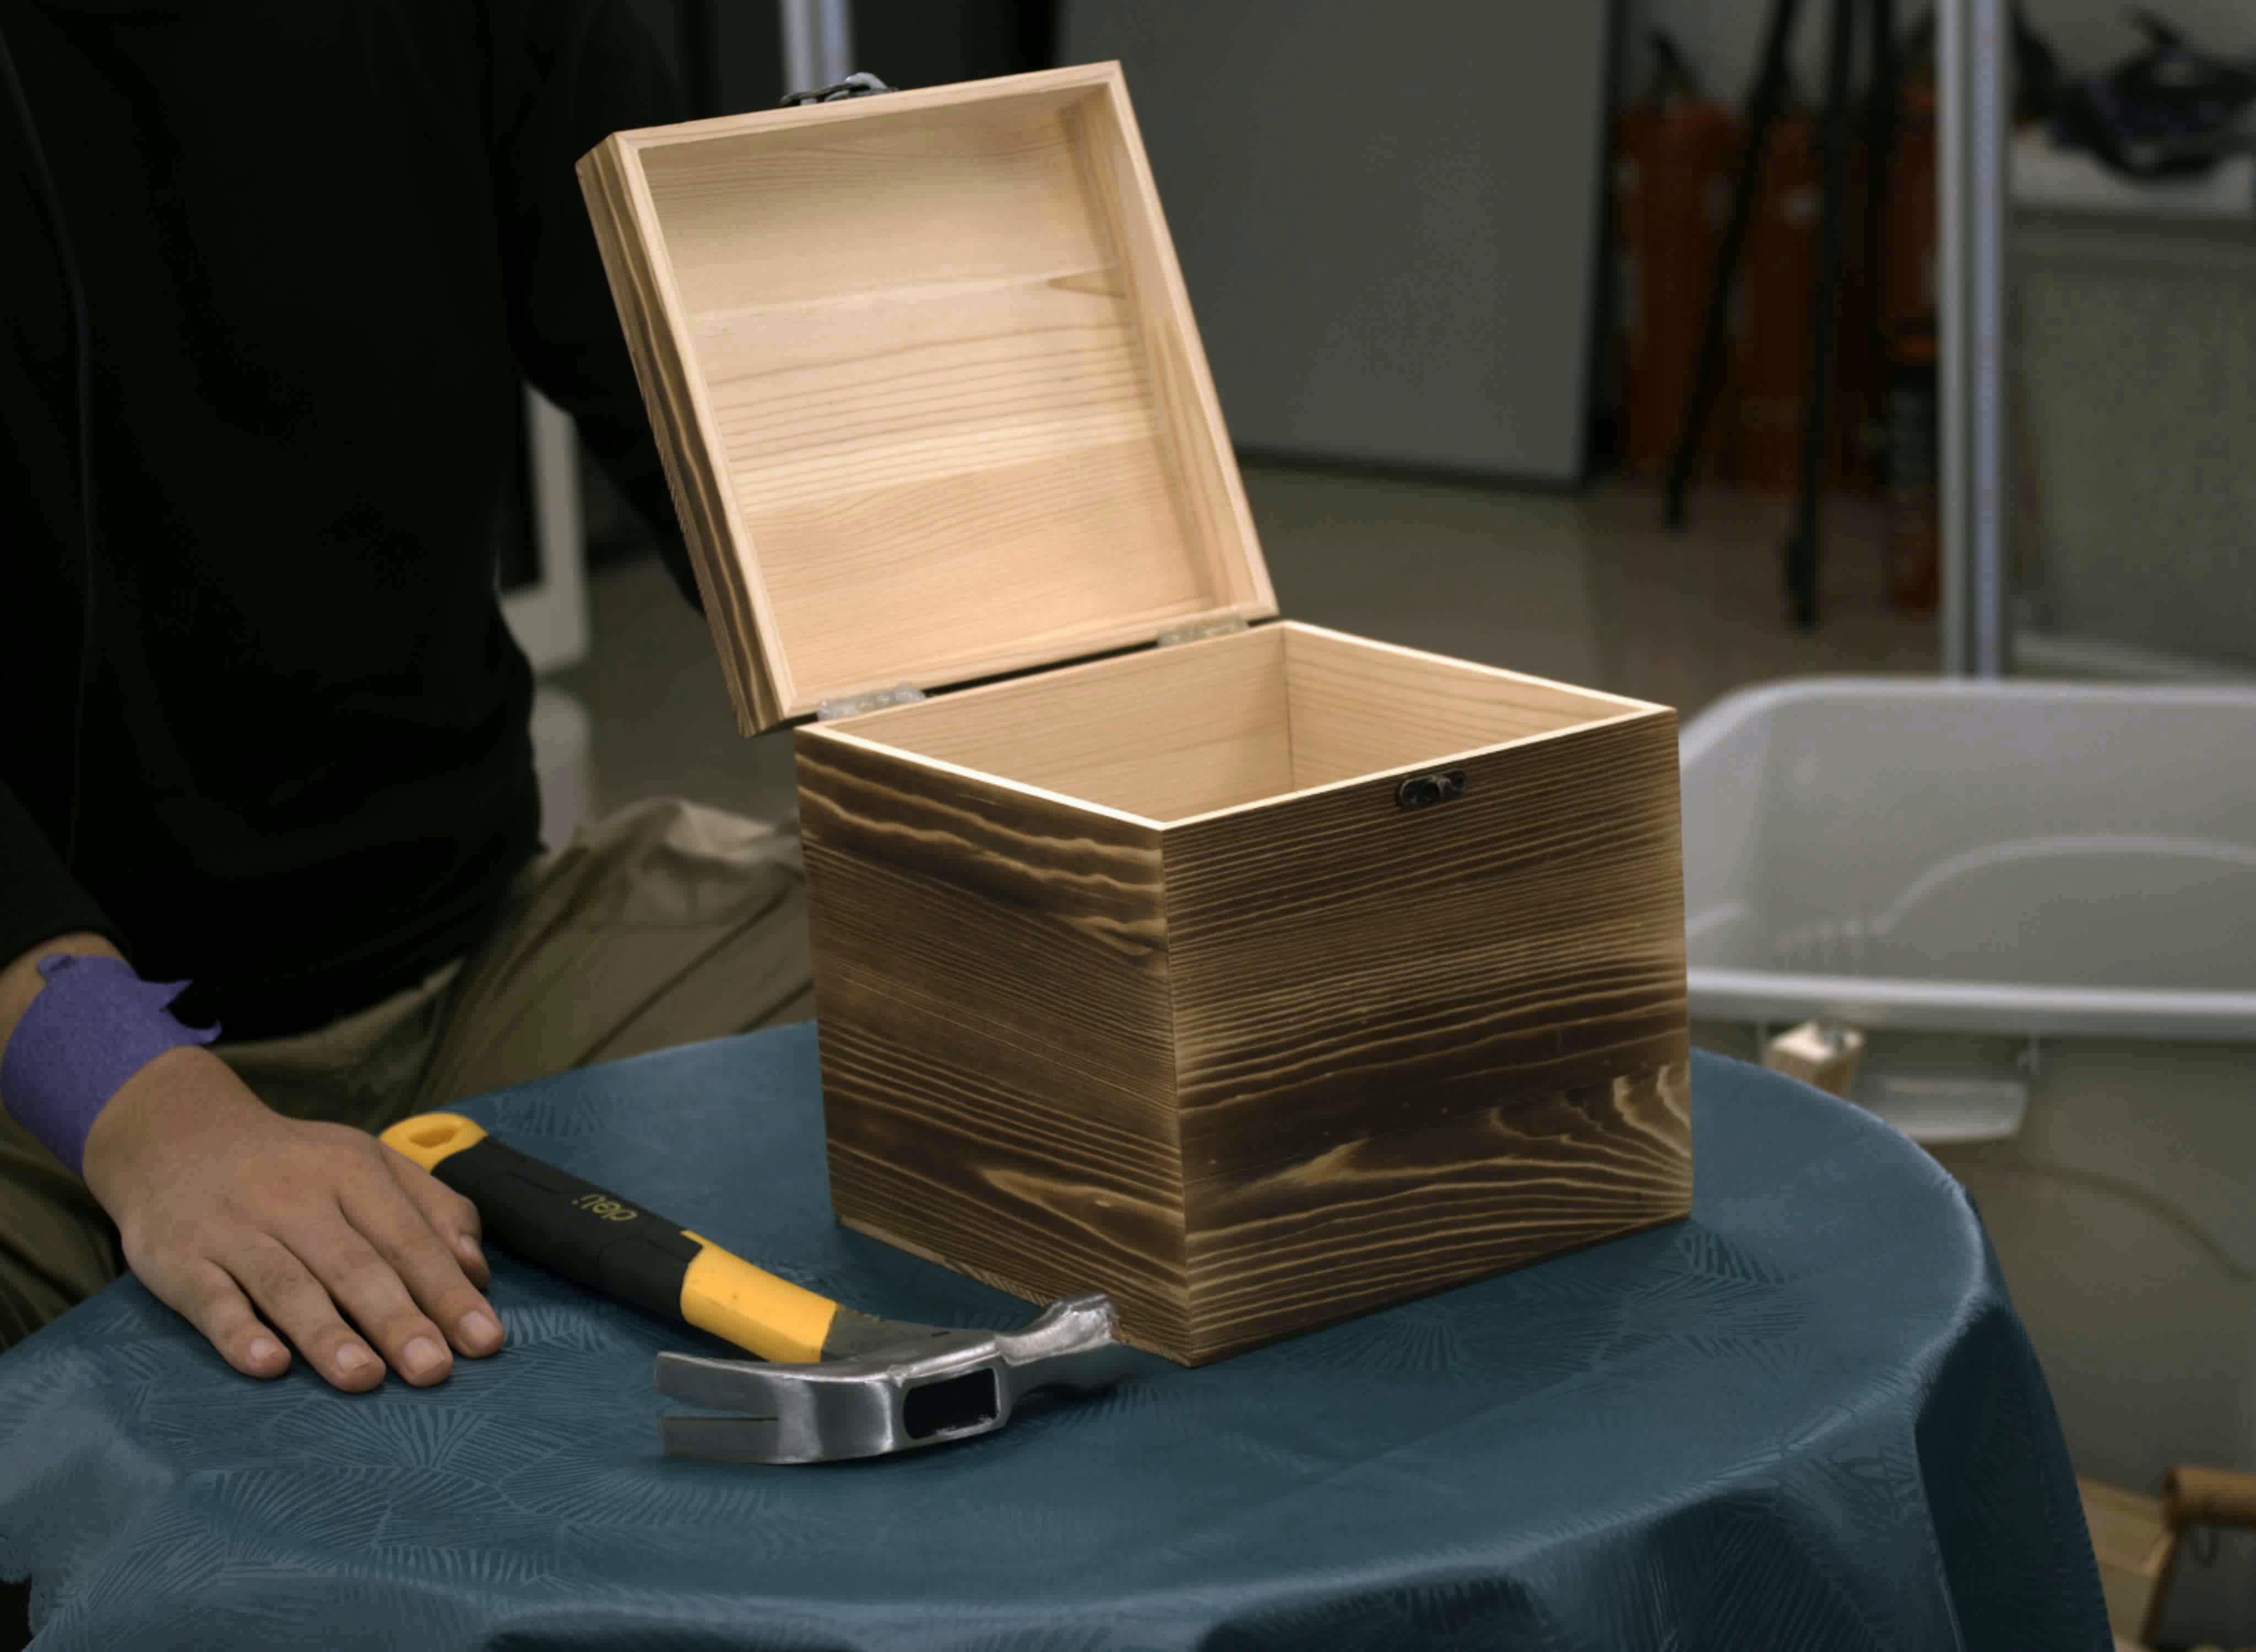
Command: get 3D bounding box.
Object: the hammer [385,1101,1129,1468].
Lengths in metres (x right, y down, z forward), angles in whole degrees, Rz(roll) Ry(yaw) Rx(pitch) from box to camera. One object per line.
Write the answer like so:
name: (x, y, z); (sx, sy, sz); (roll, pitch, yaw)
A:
hammer: (-0.143, 0.135, 1.685); (0.128, 0.032, 0.342); (-13, 17, -31)

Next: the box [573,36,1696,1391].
box: (-0.001, -0.054, 1.736); (0.204, 0.379, 0.325); (-13, 15, -32)
